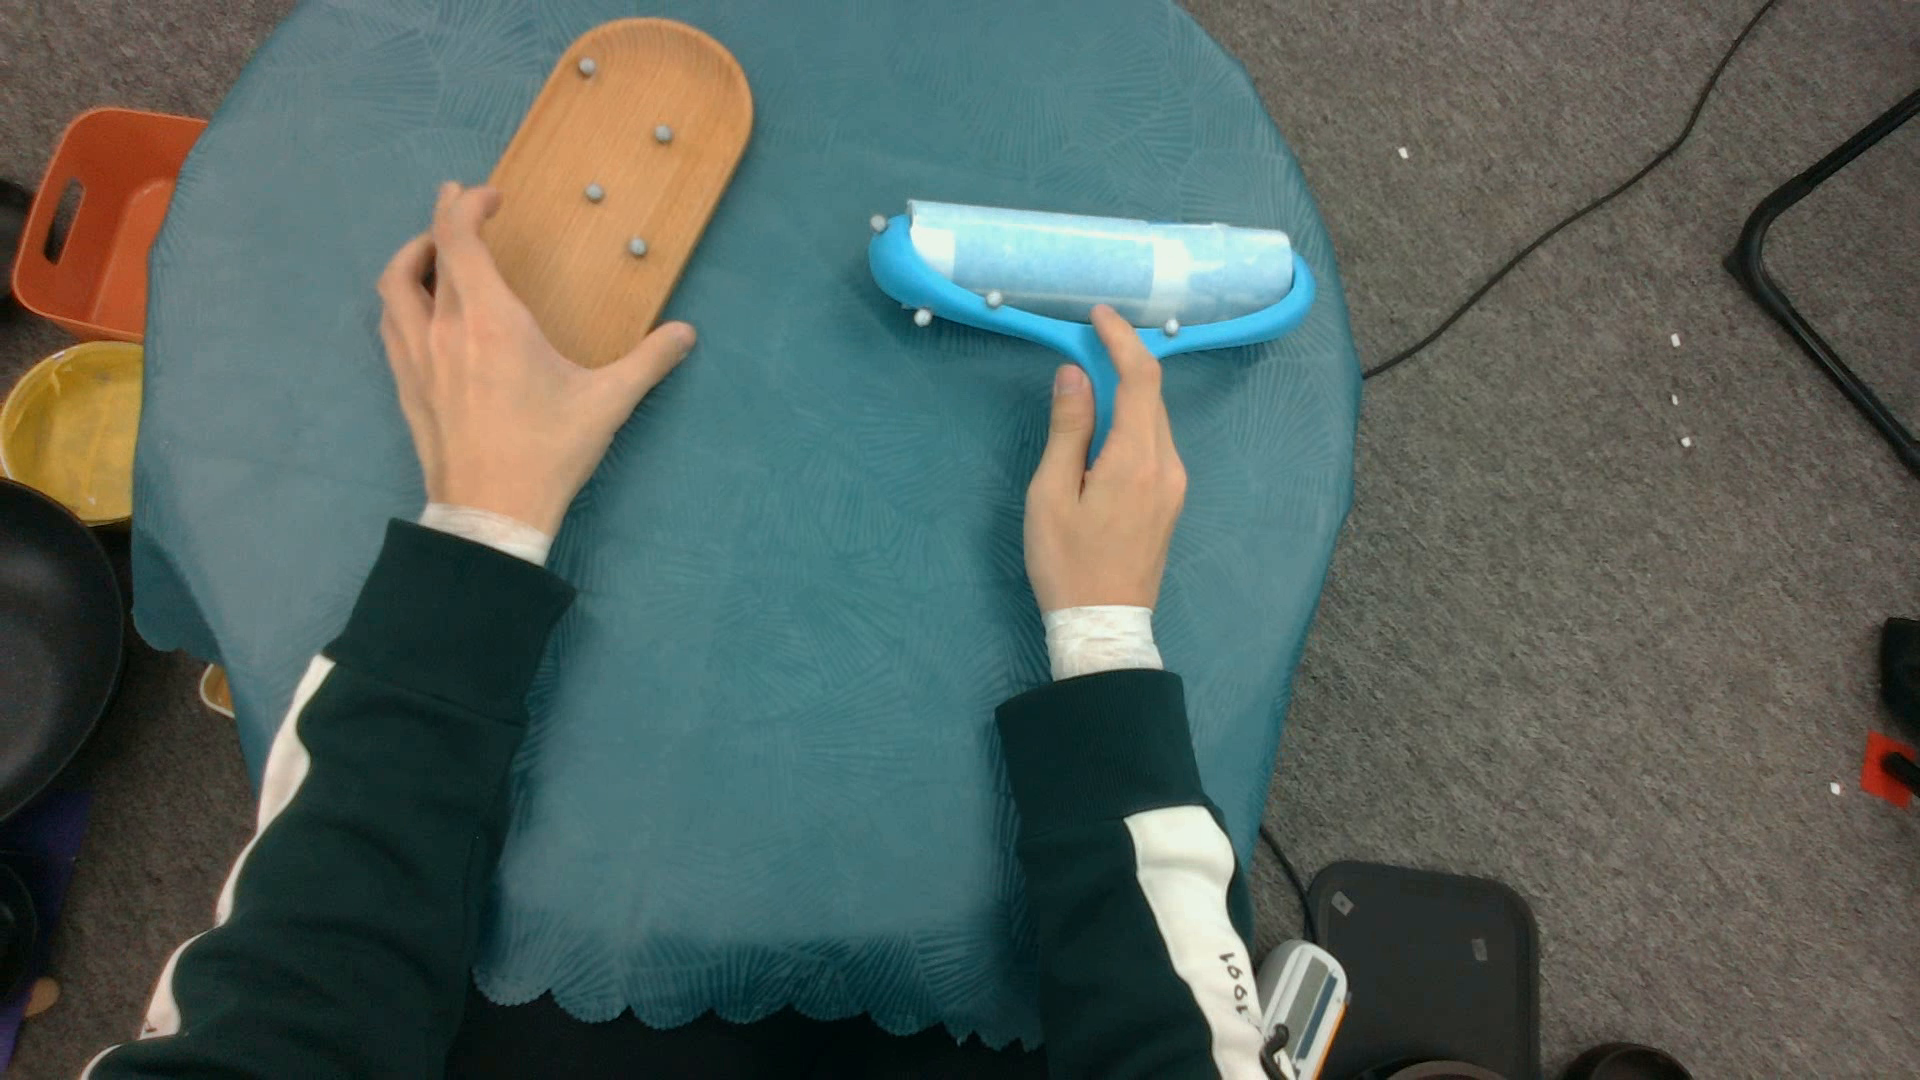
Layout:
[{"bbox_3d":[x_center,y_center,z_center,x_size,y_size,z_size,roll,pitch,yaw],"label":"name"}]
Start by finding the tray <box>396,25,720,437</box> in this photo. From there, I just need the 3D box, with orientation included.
[{"bbox_3d":[-0.194,-0.155,0.678,0.102,0.020,0.232,20,73,-2],"label":"tray"}]

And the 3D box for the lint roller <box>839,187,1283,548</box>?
[{"bbox_3d":[0.058,-0.091,0.683,0.229,0.067,0.180,-1,73,-13],"label":"lint roller"}]
